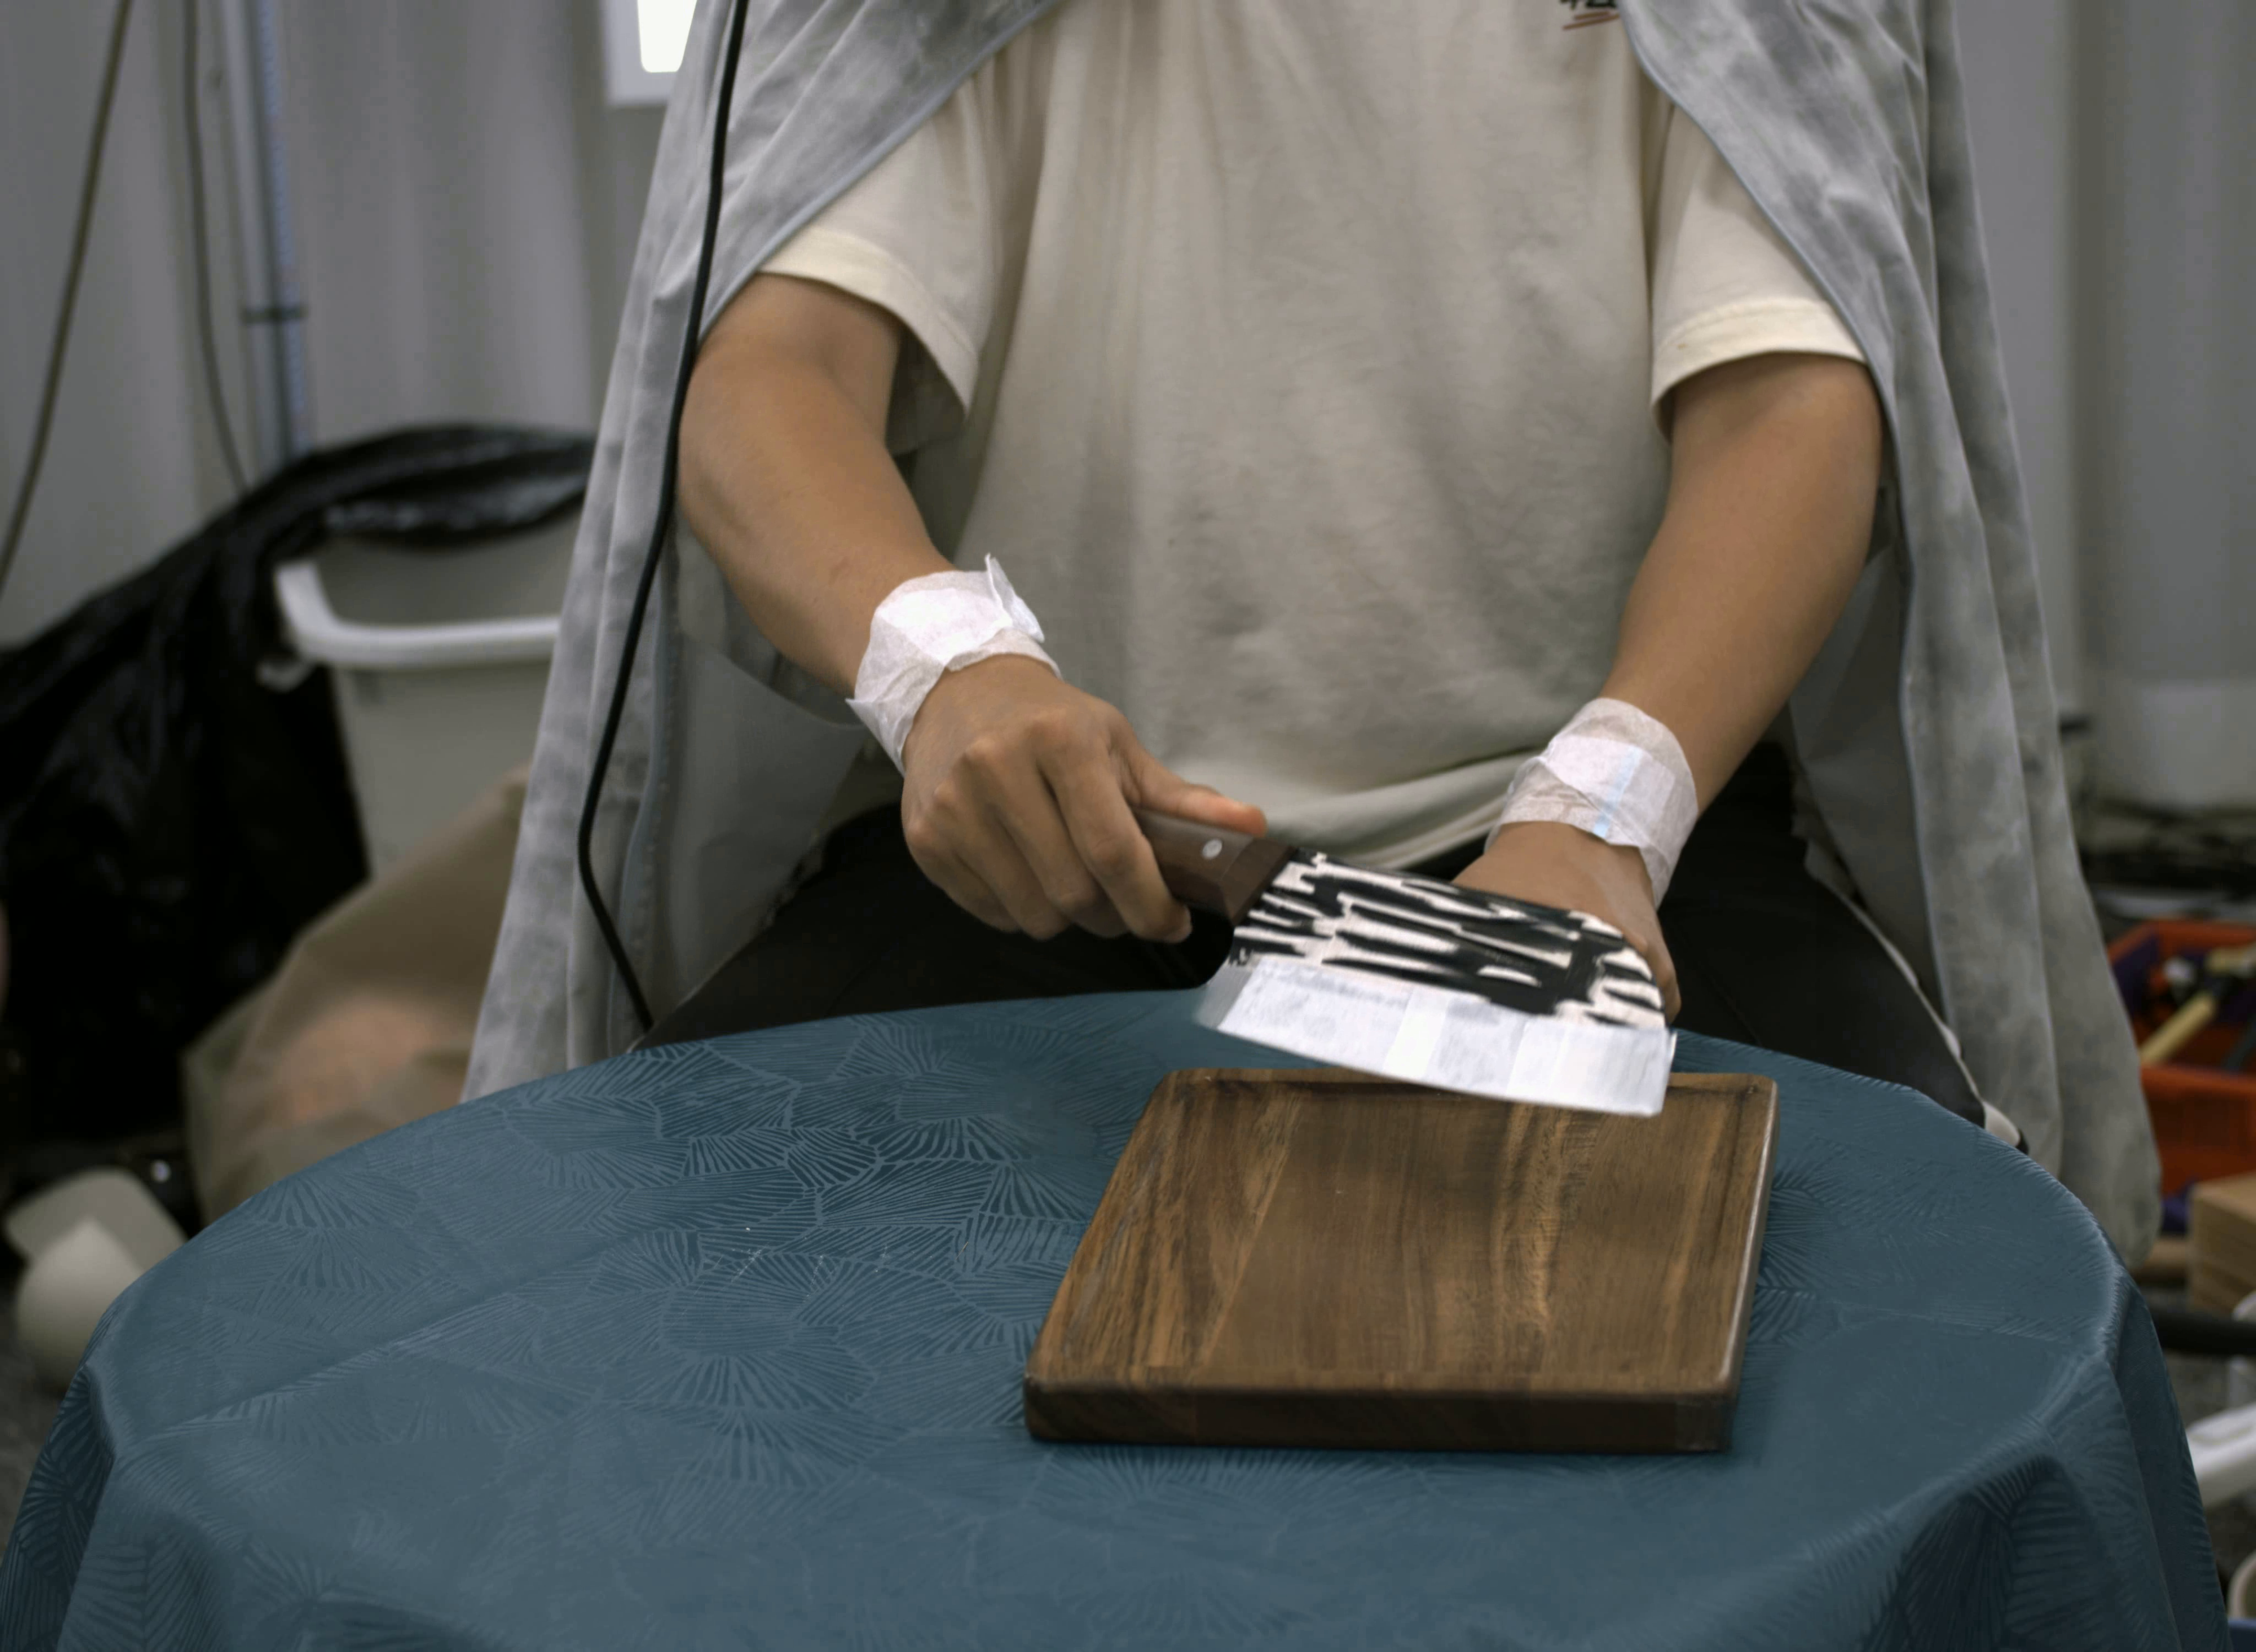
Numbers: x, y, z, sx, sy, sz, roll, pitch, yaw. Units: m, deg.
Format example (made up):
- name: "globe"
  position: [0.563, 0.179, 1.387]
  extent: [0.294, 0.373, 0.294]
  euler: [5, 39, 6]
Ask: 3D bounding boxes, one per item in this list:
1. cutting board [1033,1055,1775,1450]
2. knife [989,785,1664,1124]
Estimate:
- name: "cutting board"
  position: [0.095, 0.108, 1.654]
  extent: [0.201, 0.023, 0.354]
  euler: [0, 17, 10]
- name: "knife"
  position: [0.054, 0.039, 1.682]
  extent: [0.301, 0.023, 0.068]
  euler: [15, 65, 43]
